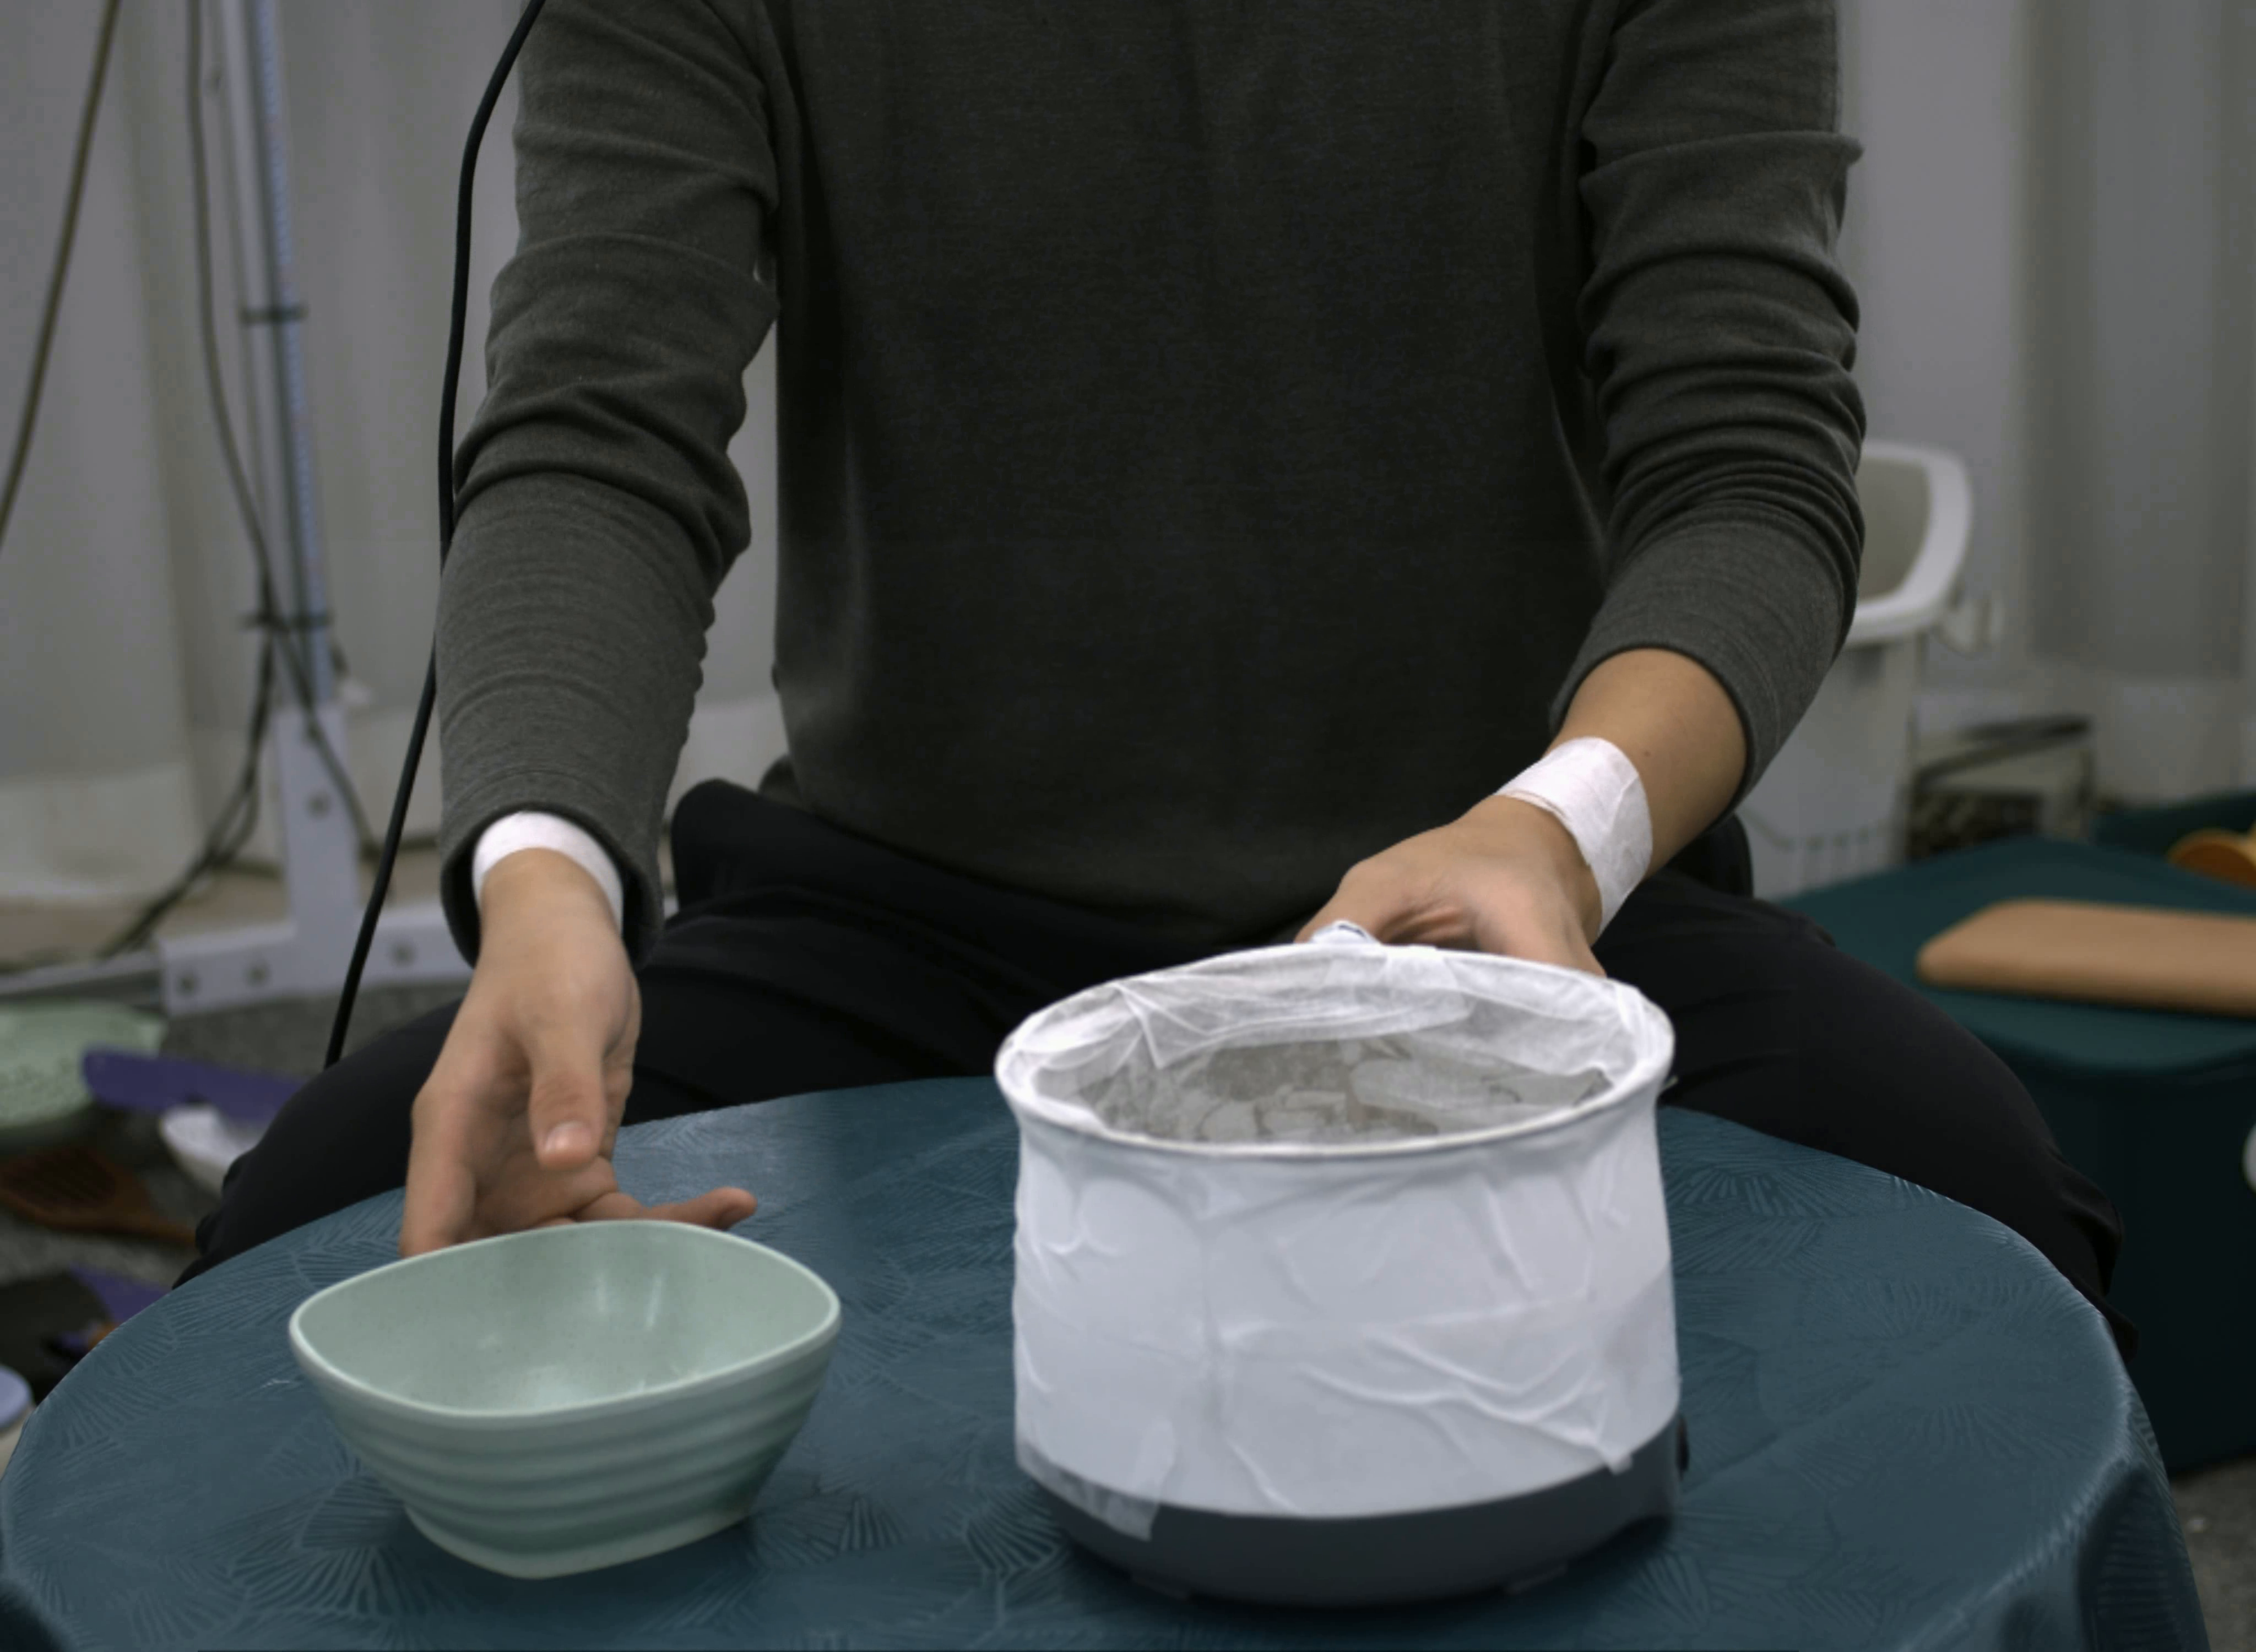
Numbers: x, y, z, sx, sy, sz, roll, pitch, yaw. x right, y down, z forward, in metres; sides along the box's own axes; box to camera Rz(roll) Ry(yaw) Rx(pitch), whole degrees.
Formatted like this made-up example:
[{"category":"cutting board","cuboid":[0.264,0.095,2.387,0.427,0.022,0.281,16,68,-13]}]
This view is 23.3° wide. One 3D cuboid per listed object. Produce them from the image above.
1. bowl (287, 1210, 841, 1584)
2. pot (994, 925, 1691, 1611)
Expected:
[{"category":"bowl","cuboid":[-0.150,0.158,1.474,0.151,0.058,0.152,-2,17,0]},{"category":"pot","cuboid":[0.058,0.111,1.458,0.178,0.136,0.235,-2,14,4]}]
